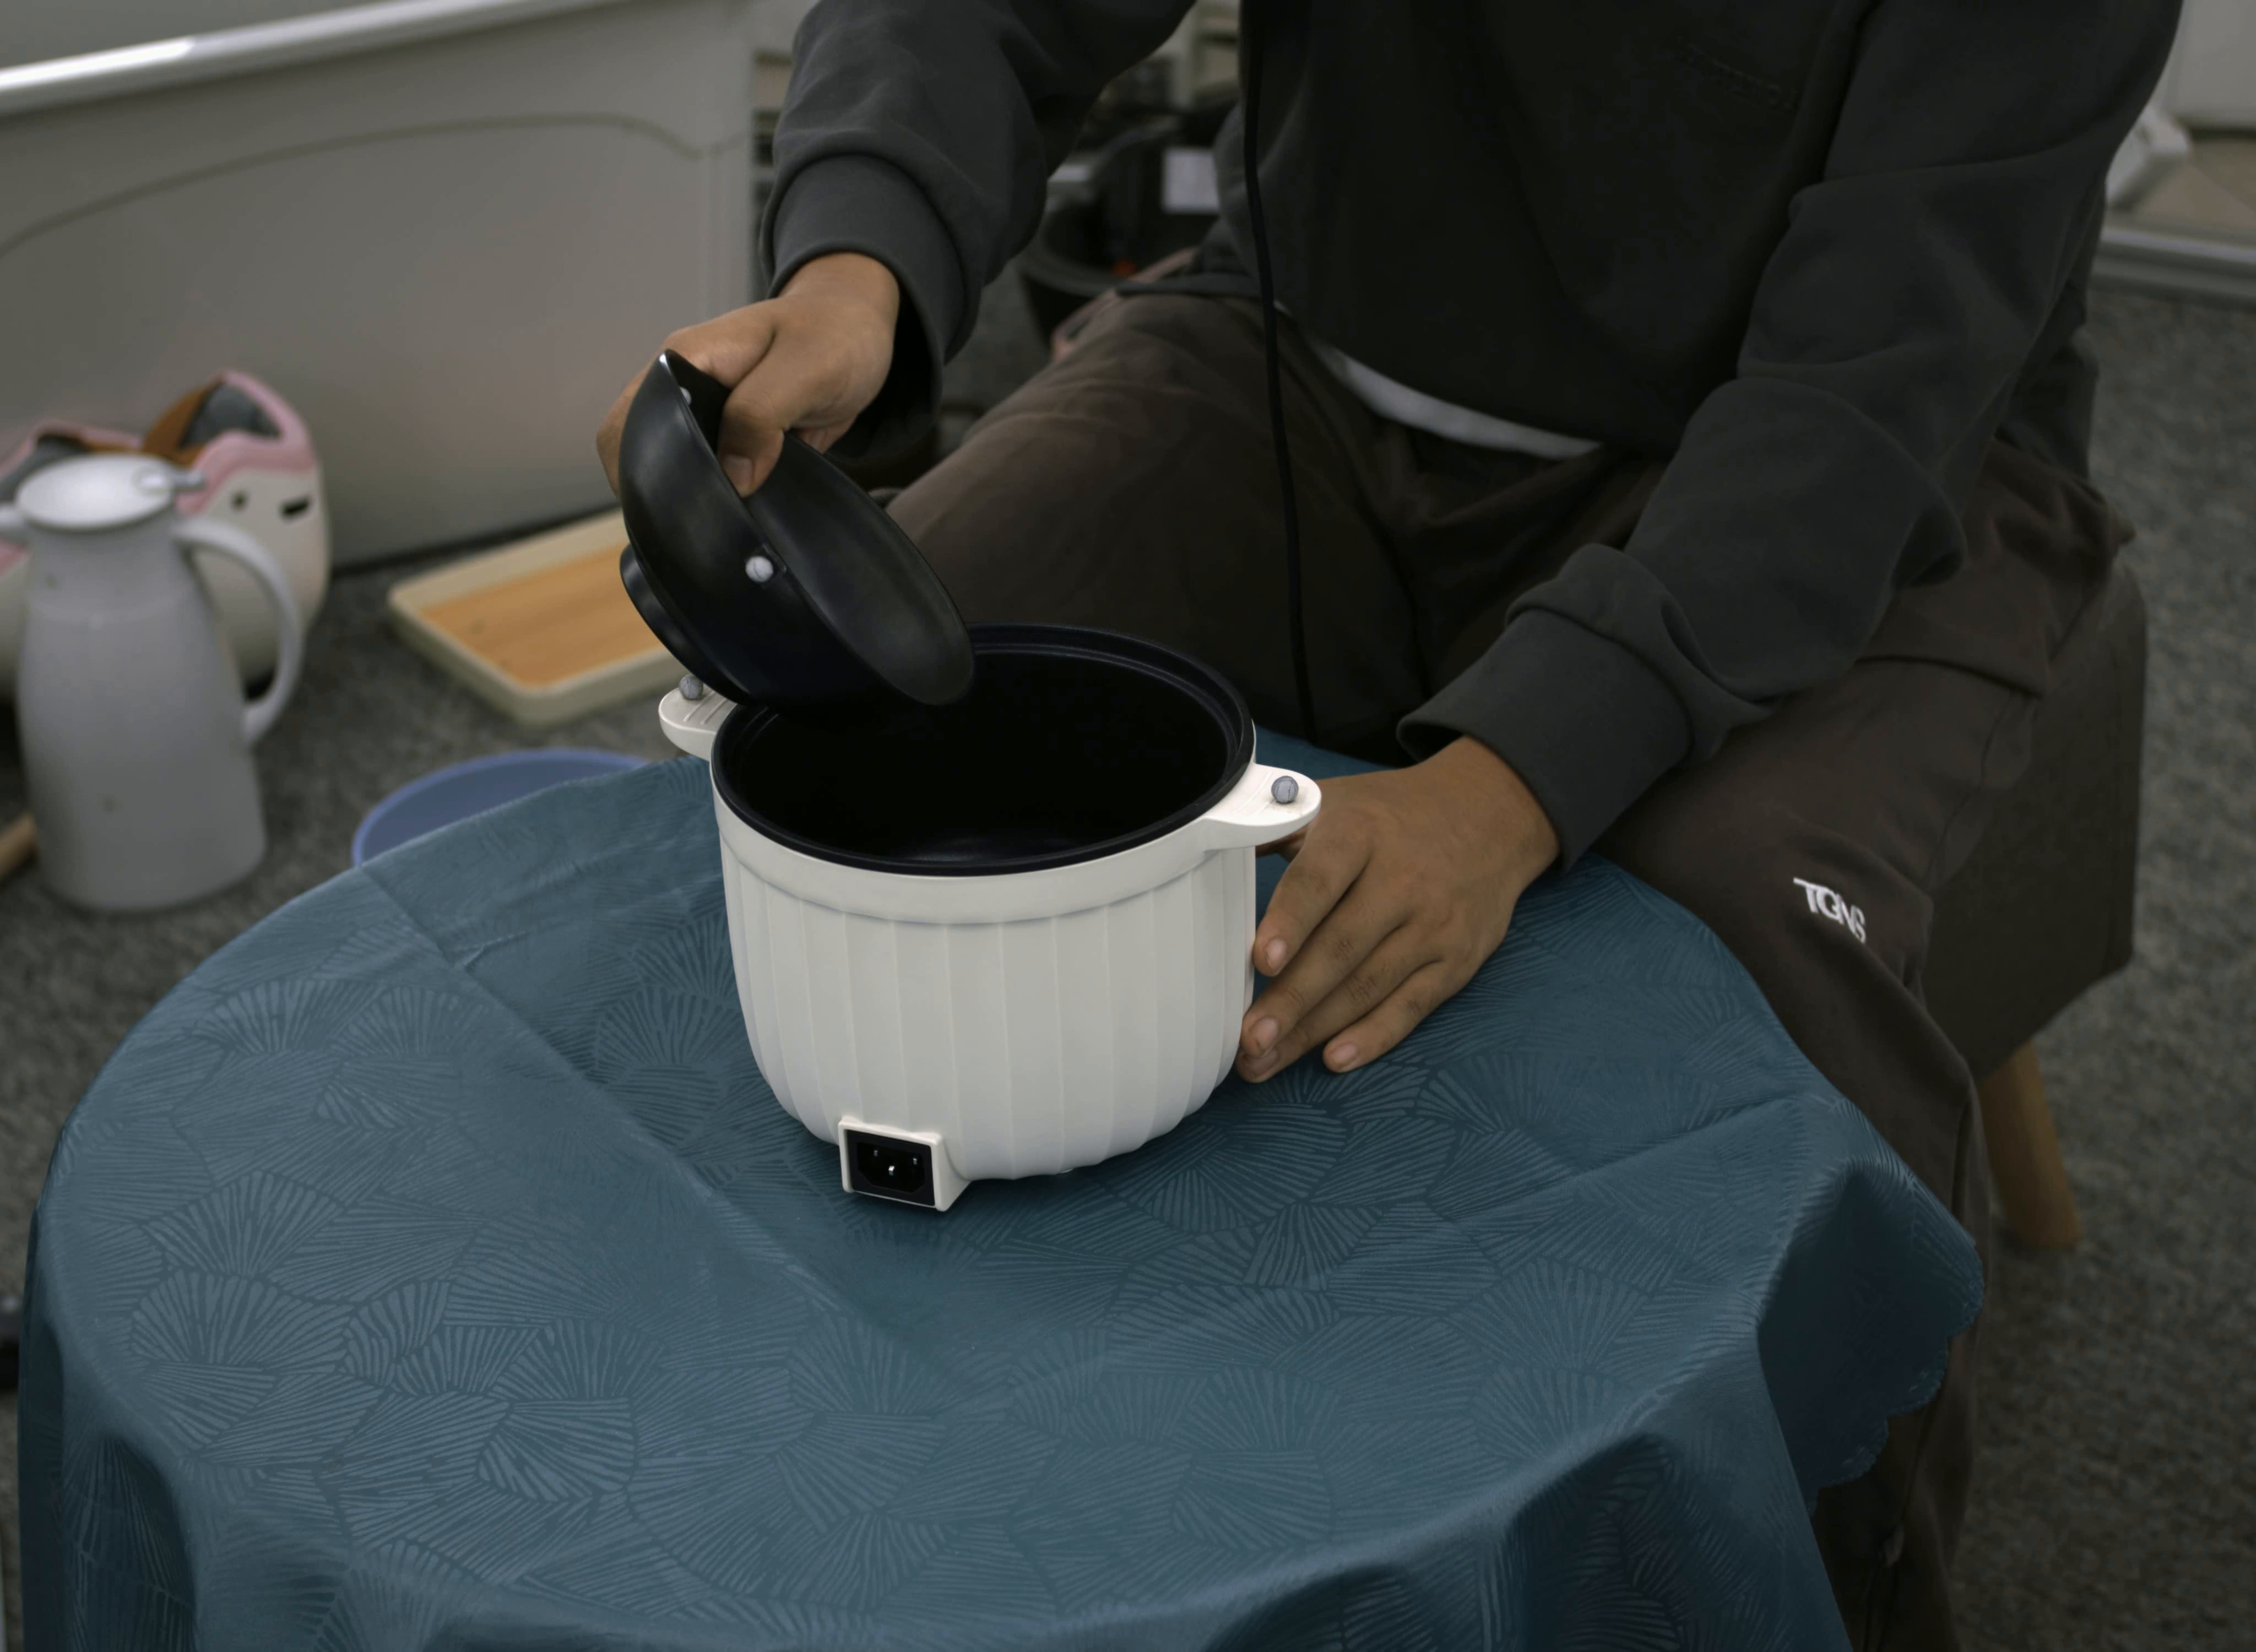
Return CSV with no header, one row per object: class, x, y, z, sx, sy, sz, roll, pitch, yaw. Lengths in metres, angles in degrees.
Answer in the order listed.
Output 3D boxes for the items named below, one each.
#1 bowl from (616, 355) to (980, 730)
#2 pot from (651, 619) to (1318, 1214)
bowl,-0.124,-0.086,1.870,0.066,0.136,0.172,-43,48,13
pot,-0.045,0.027,1.903,0.239,0.141,0.194,10,32,21
